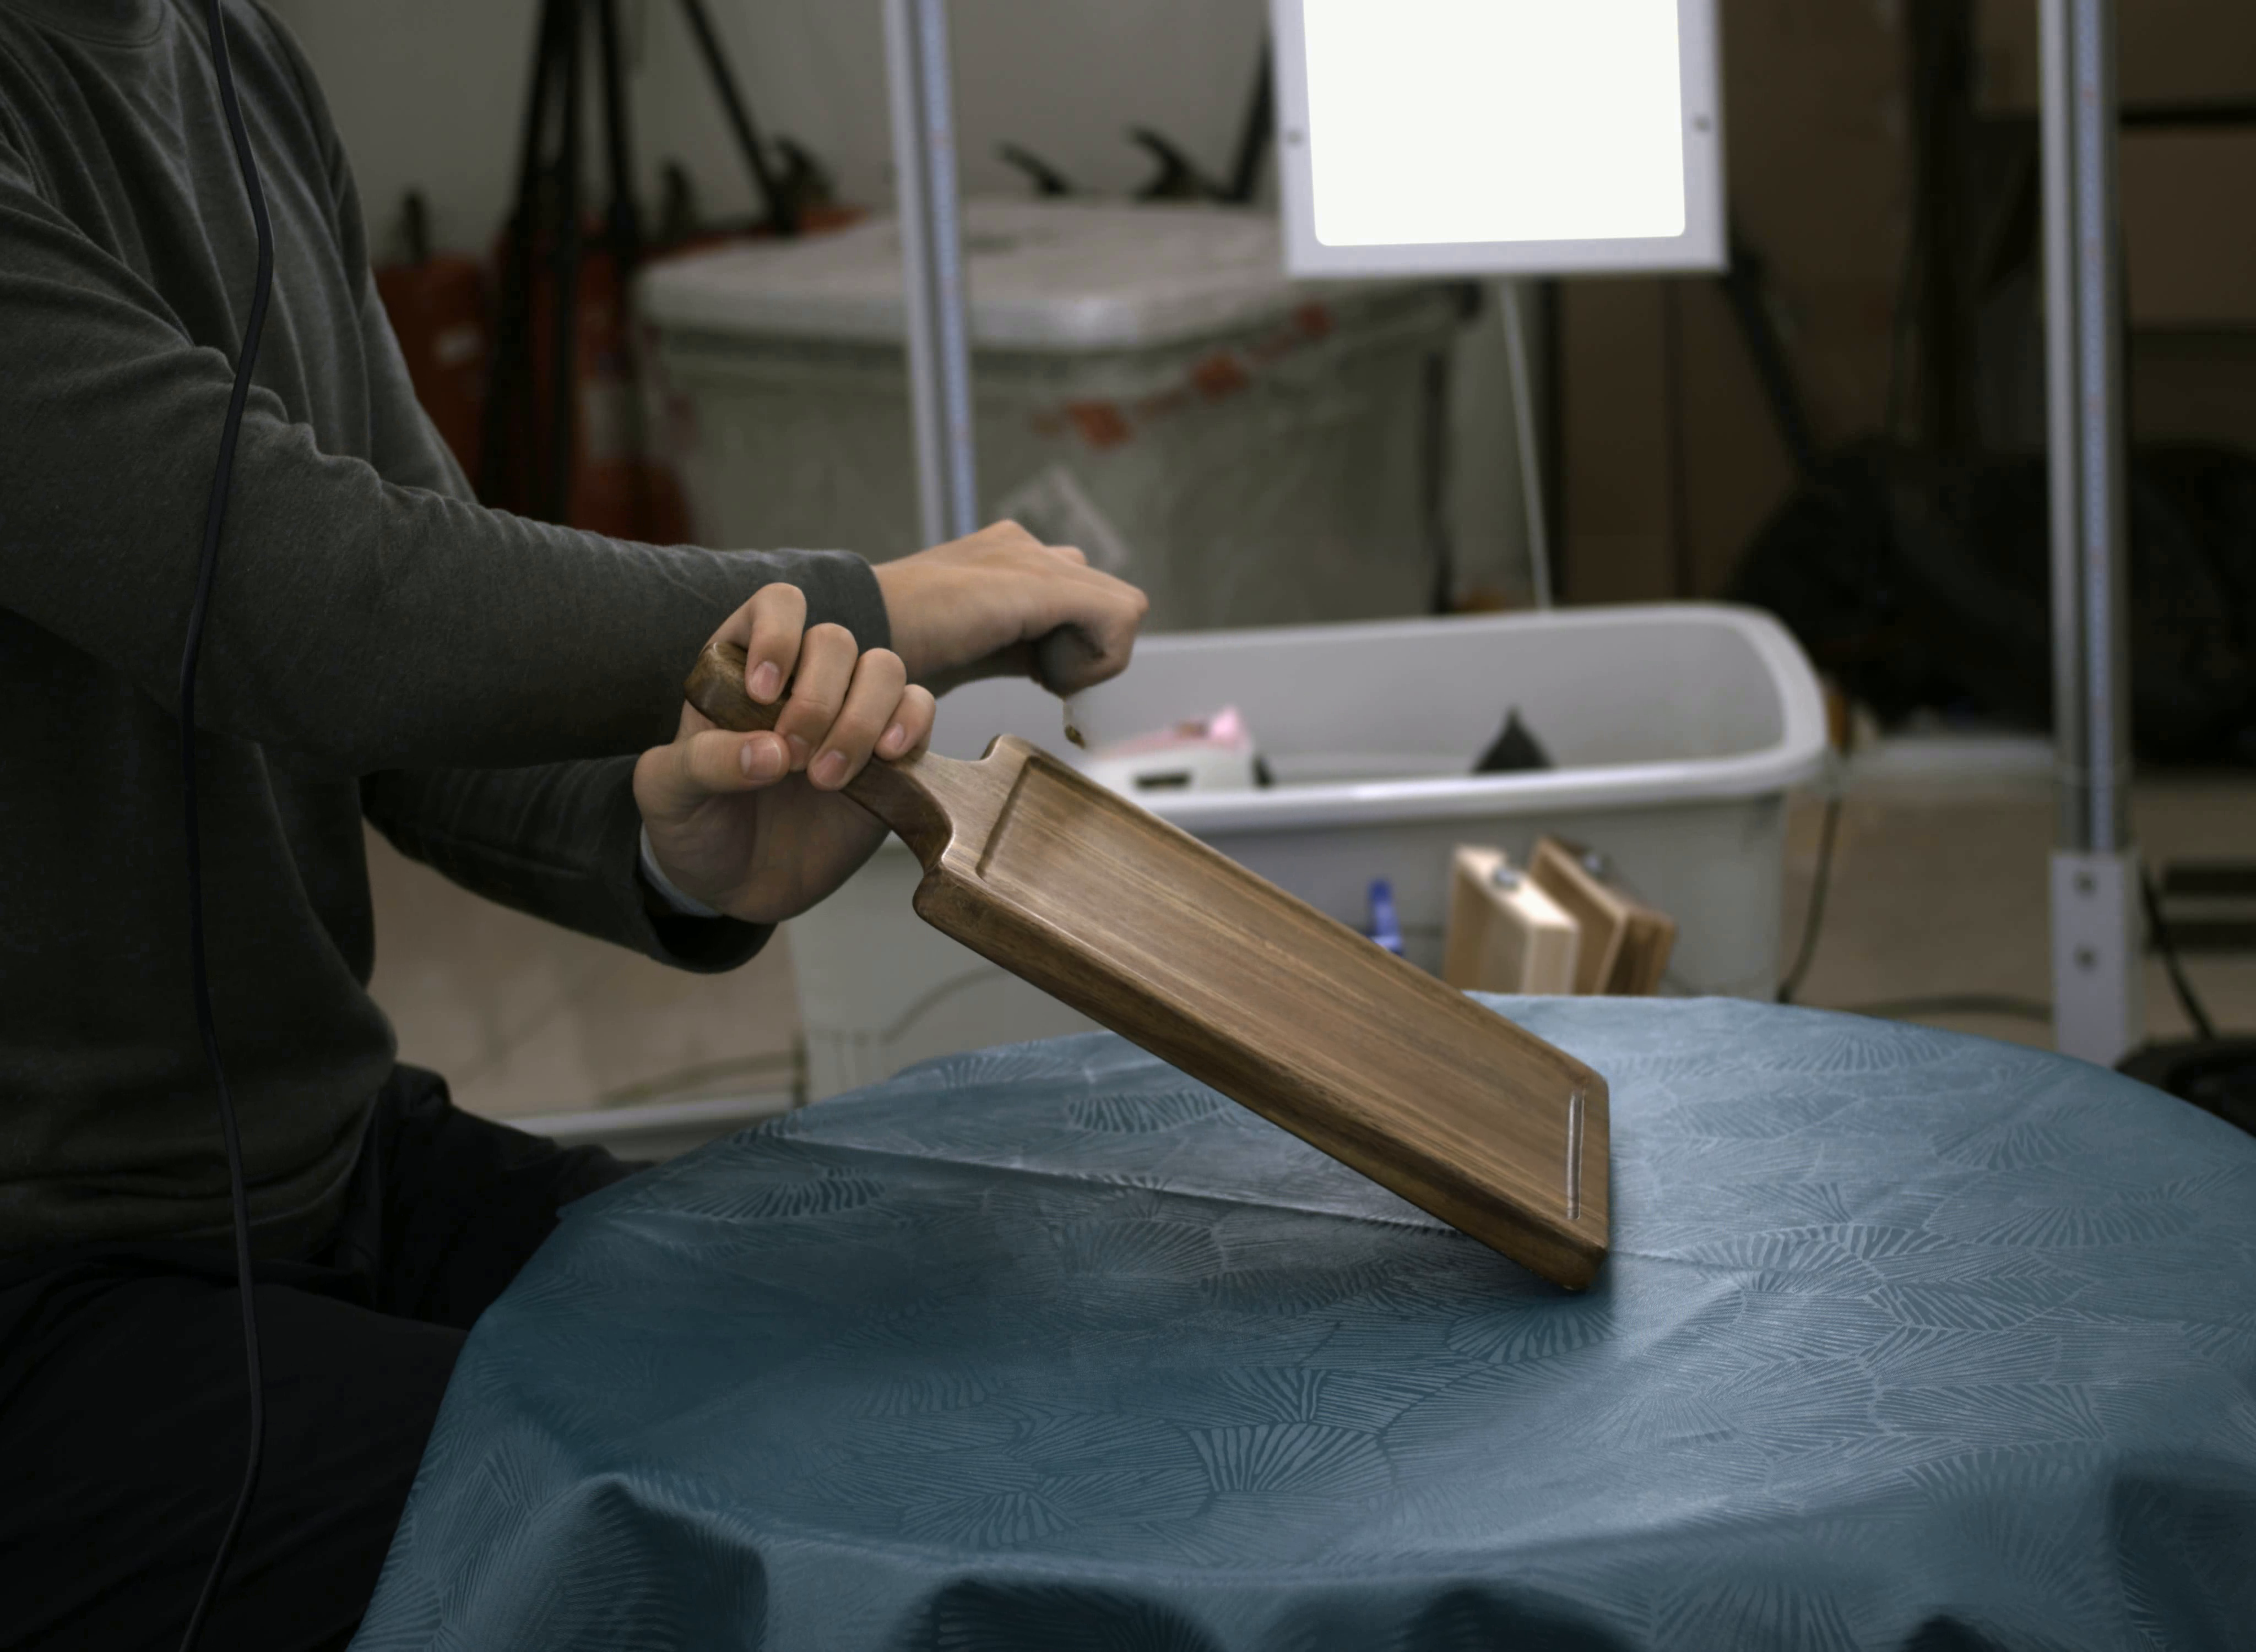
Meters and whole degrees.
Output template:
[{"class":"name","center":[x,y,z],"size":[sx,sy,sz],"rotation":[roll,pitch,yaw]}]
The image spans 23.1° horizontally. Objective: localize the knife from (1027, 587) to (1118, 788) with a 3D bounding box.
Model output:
[{"class":"knife","center":[-0.021,-0.051,1.999],"size":[0.024,0.016,0.238],"rotation":[27,13,-13]}]

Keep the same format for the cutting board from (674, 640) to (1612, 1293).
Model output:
[{"class":"cutting board","center":[0.006,0.033,1.838],"size":[0.351,0.023,0.199],"rotation":[30,15,-2]}]
